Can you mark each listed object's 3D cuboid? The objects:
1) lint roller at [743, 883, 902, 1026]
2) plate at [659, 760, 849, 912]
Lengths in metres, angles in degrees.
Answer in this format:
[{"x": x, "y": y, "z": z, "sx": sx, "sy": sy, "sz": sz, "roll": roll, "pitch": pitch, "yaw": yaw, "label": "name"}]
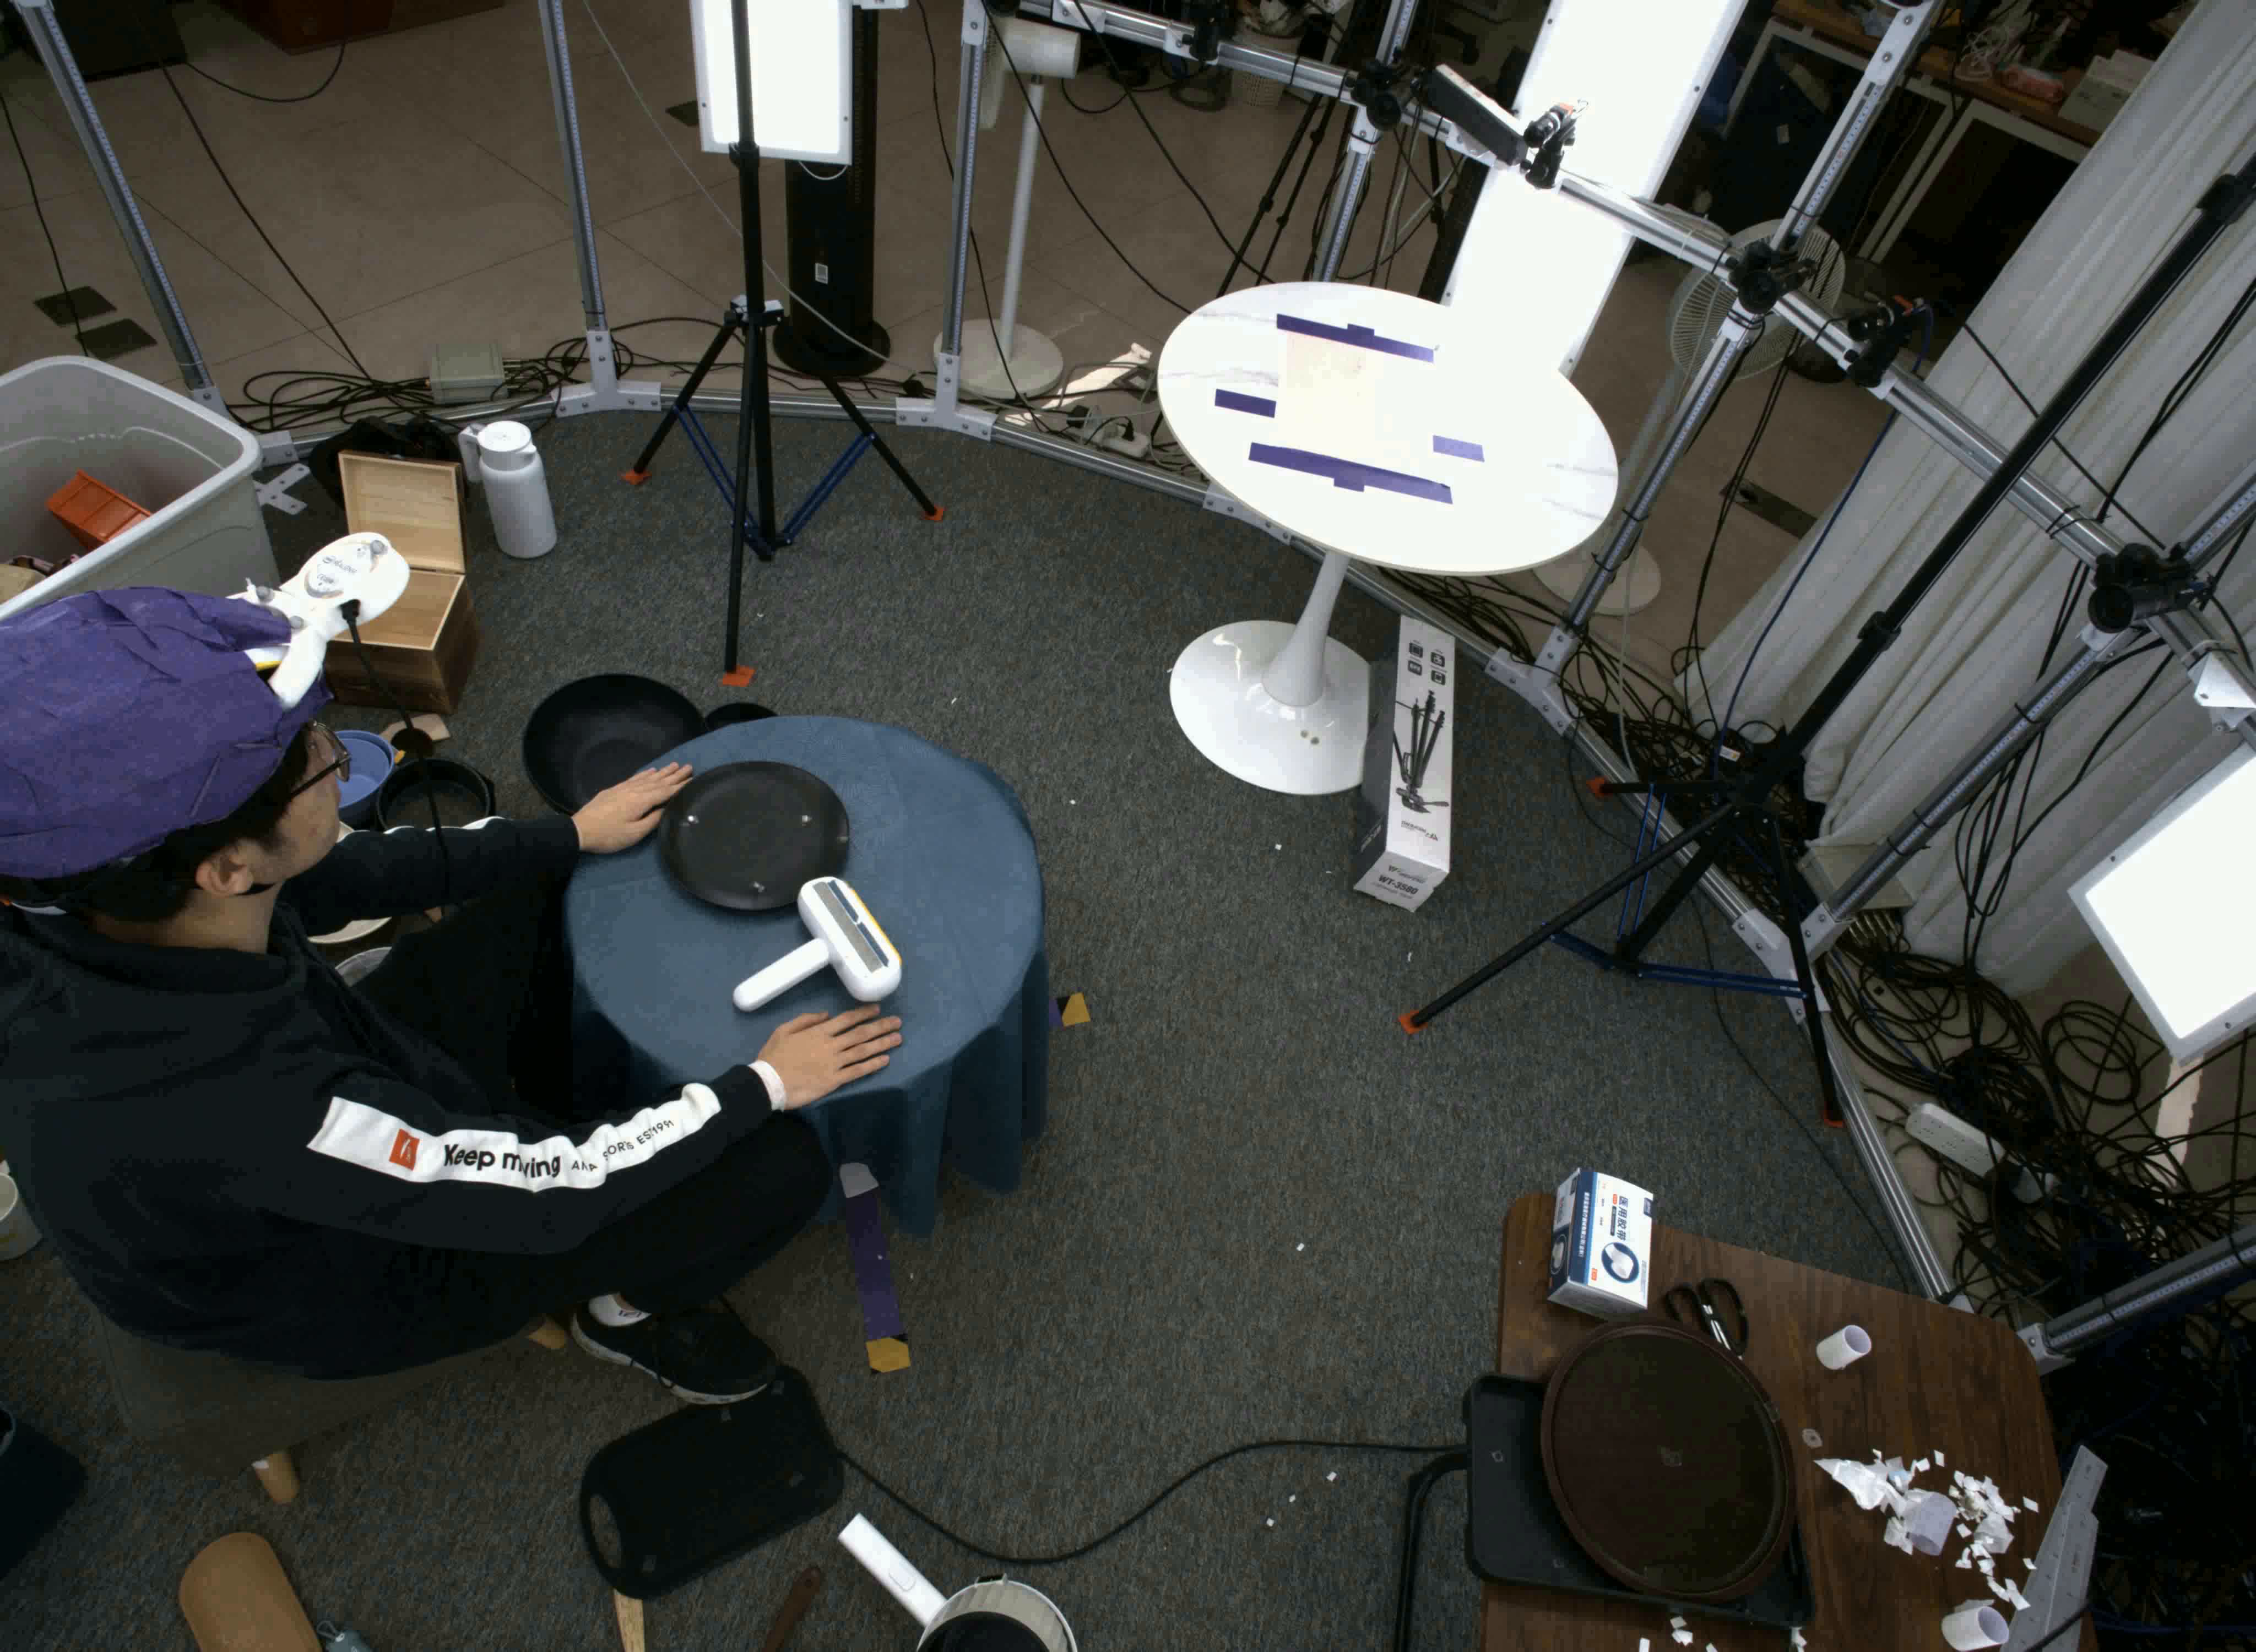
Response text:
[{"x": -0.389, "y": 0.175, "z": 1.590, "sx": 0.192, "sy": 0.076, "sz": 0.187, "roll": -27, "pitch": 56, "yaw": -13, "label": "lint roller"}, {"x": -0.487, "y": 0.013, "z": 1.689, "sx": 0.244, "sy": 0.024, "sz": 0.240, "roll": 8, "pitch": 53, "yaw": -9, "label": "plate"}]
